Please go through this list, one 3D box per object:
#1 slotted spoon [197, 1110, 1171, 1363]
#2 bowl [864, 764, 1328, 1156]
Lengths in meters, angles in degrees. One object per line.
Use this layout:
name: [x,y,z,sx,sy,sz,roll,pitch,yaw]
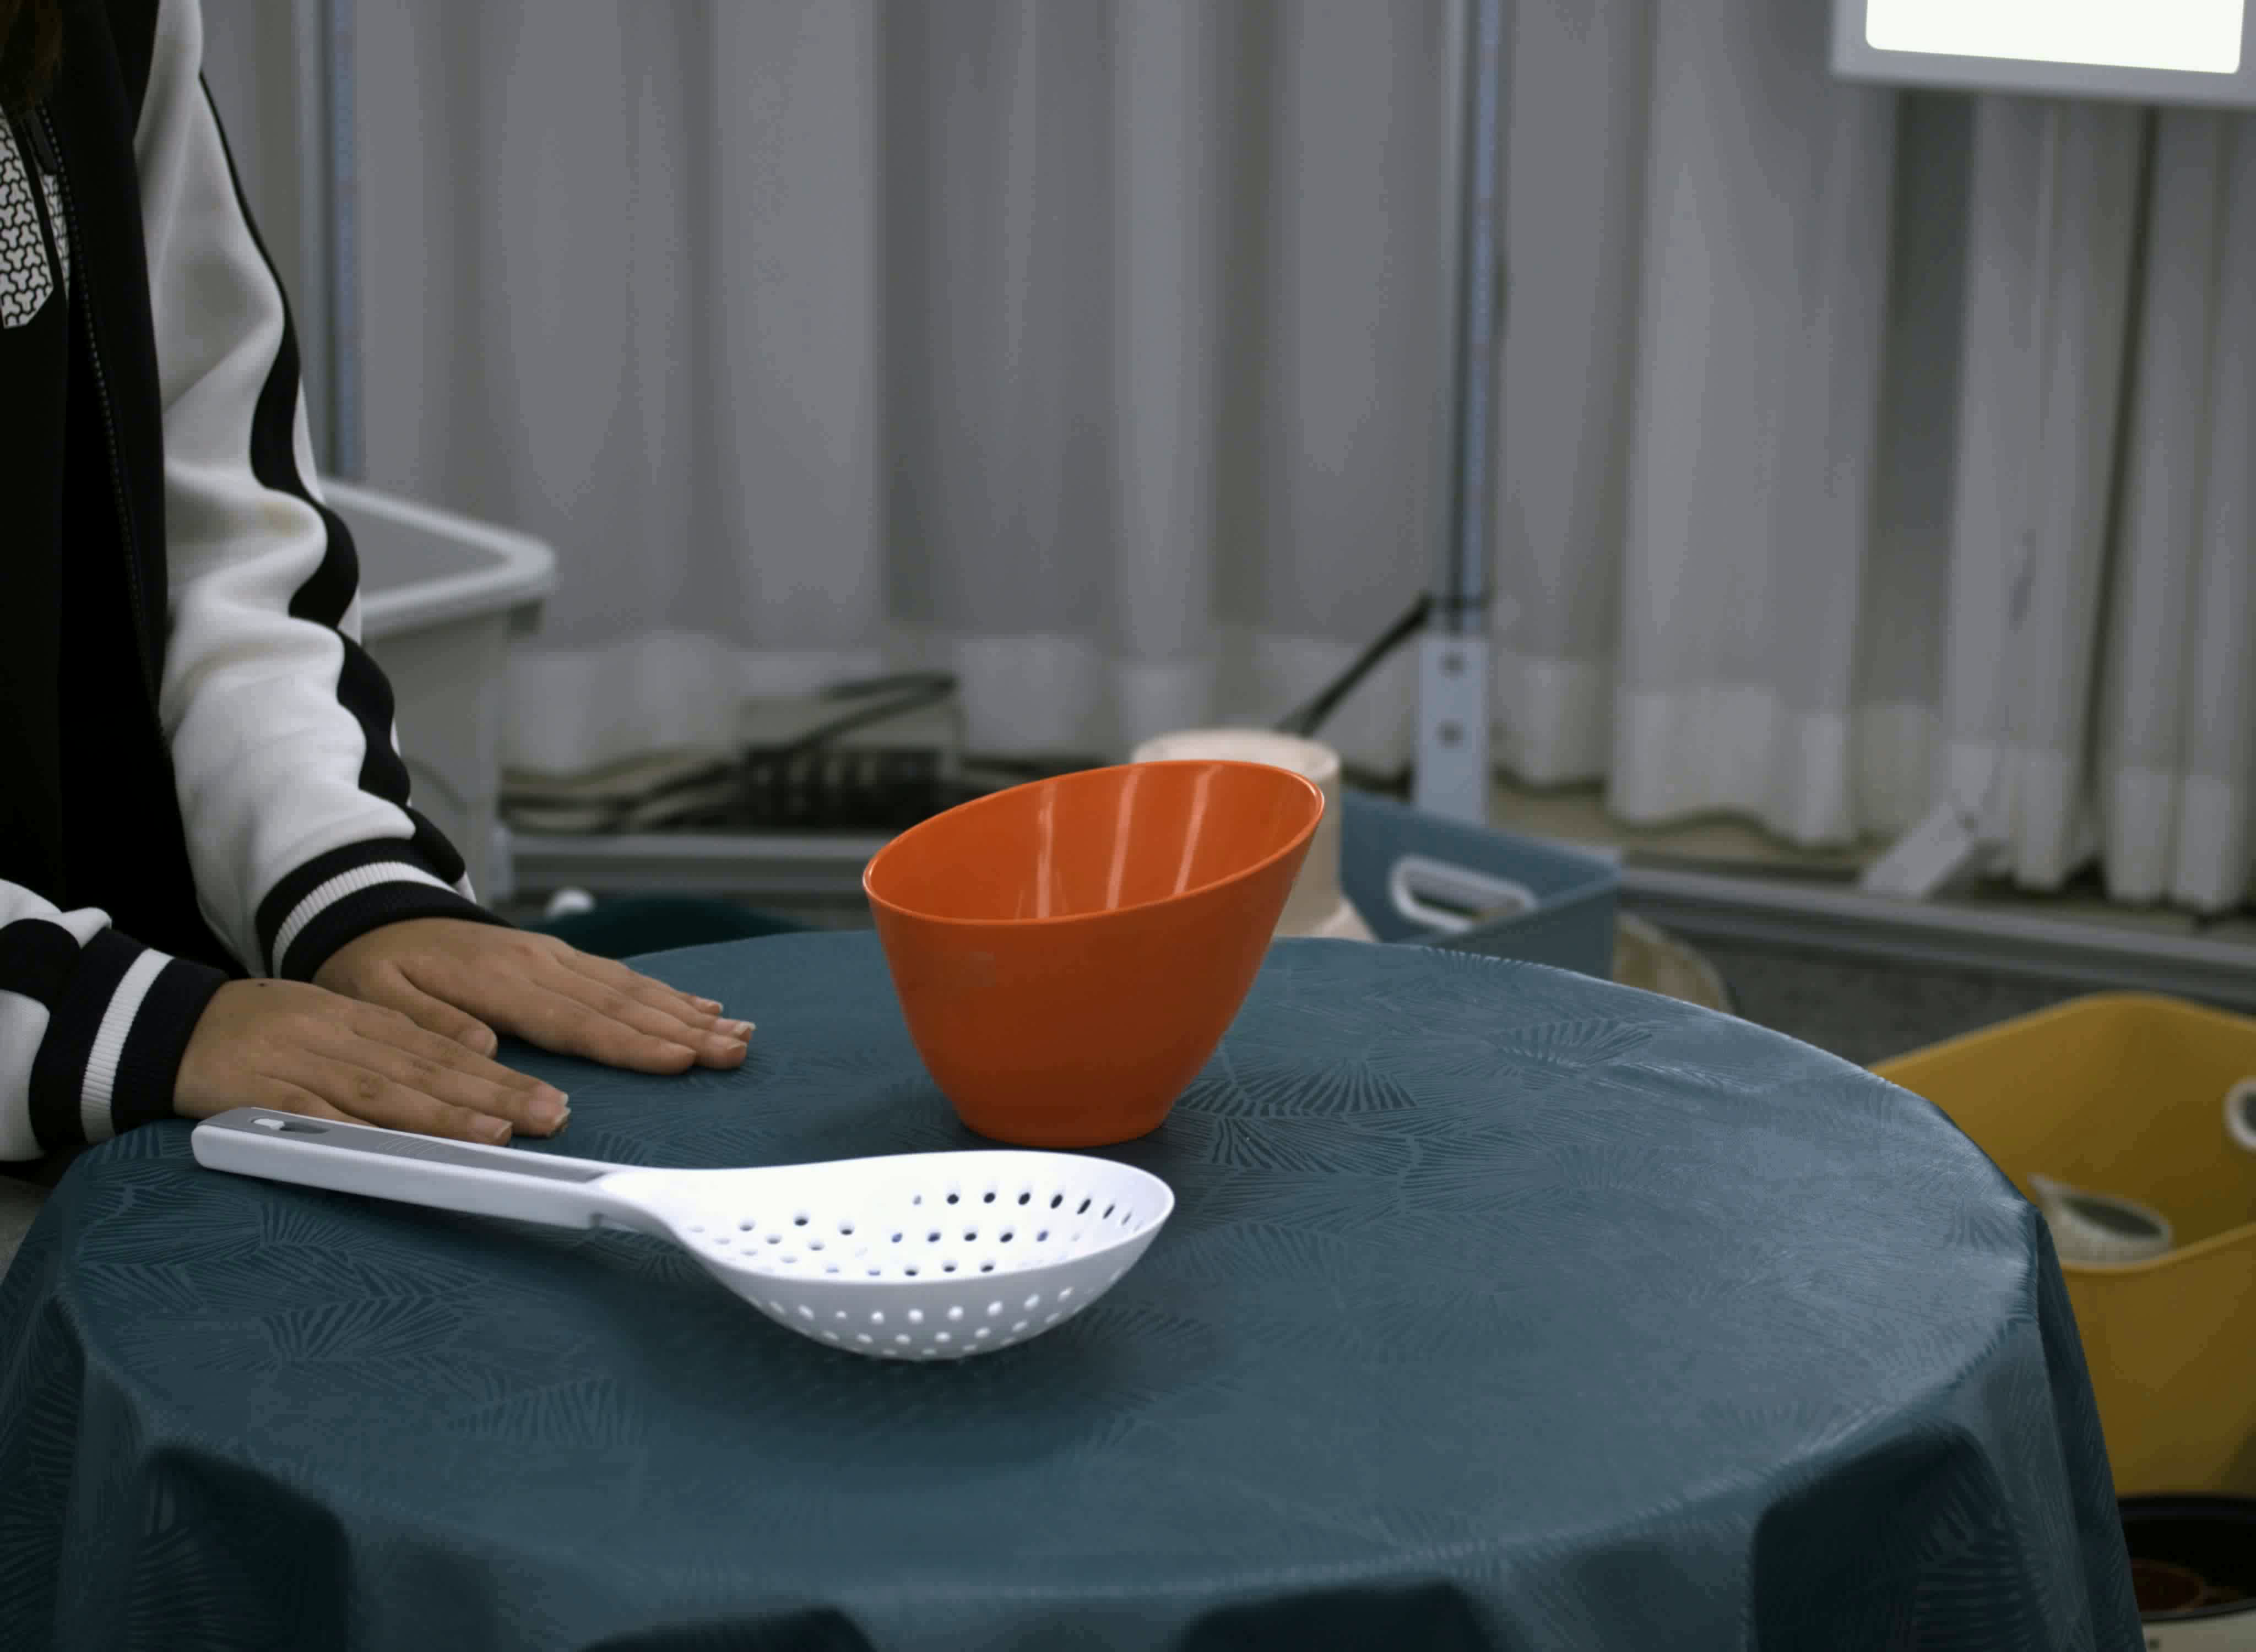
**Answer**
slotted spoon: [-0.142,0.110,1.542,0.345,0.046,0.136,10,17,34]
bowl: [-0.010,0.045,1.678,0.147,0.105,0.147,0,17,1]
